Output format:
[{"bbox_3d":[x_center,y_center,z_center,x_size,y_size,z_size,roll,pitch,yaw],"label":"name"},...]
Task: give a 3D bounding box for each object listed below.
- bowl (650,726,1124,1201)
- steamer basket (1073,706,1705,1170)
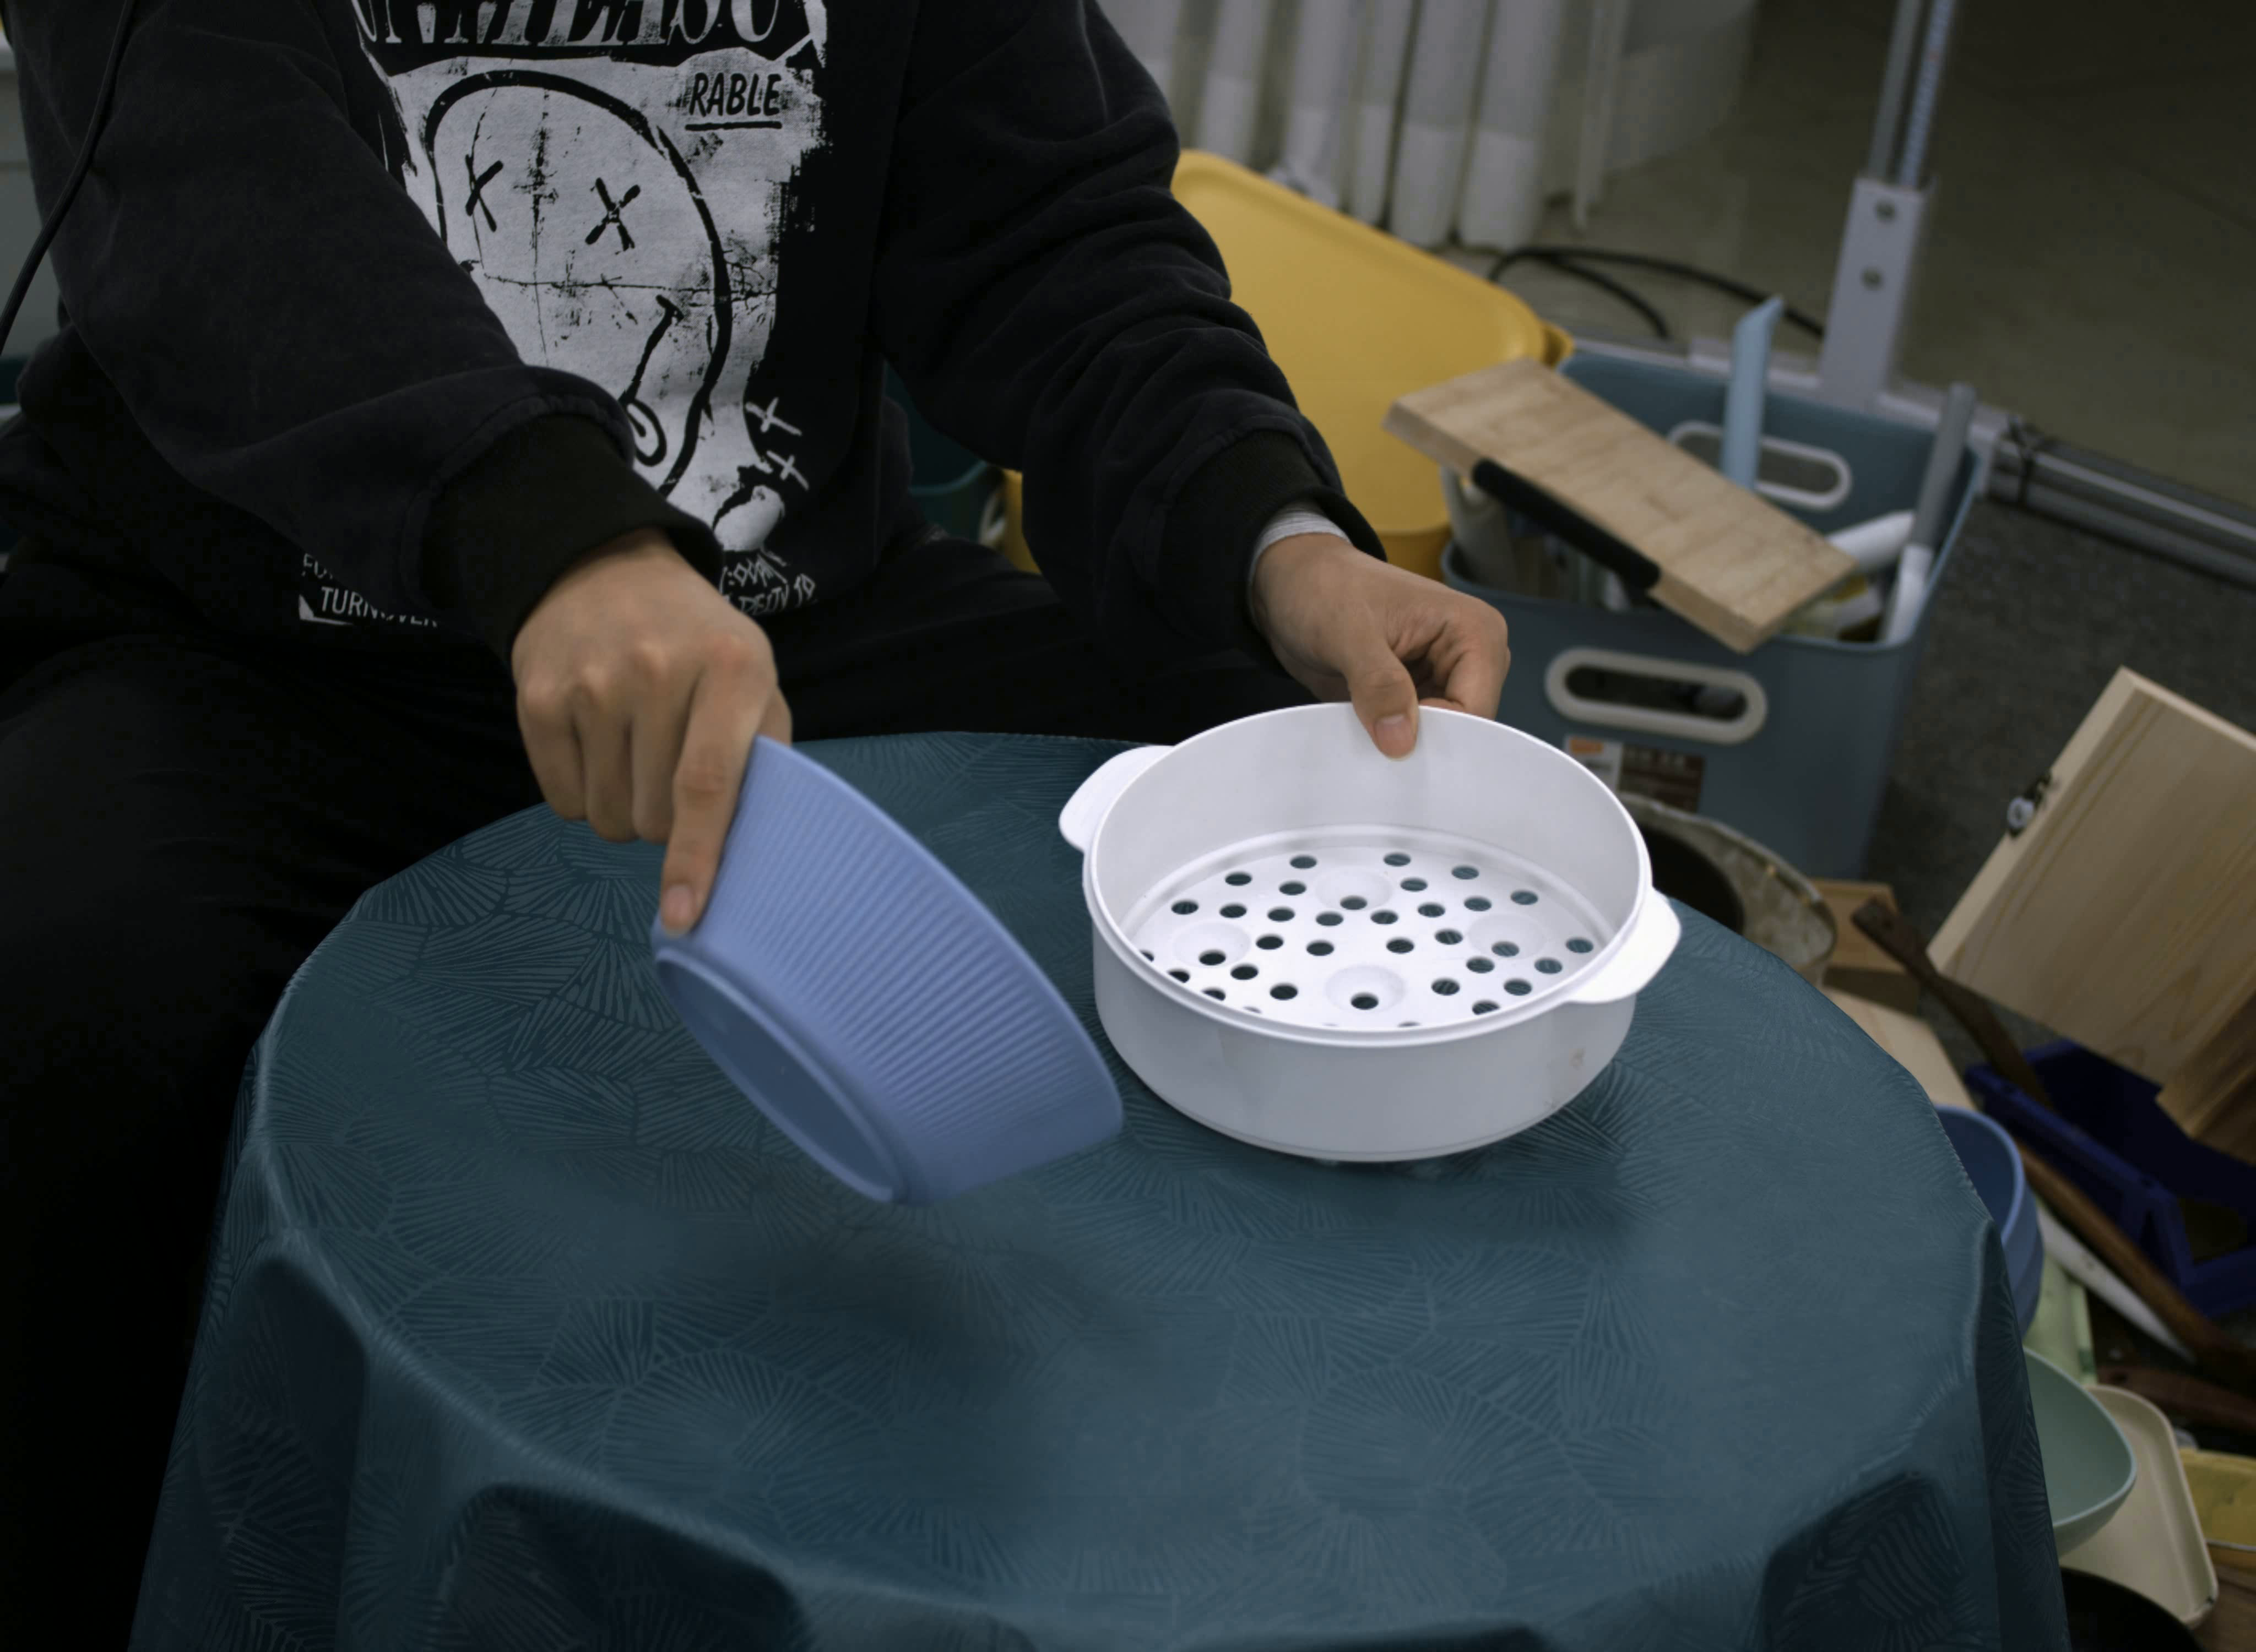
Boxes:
[{"bbox_3d":[-0.087,0.054,1.665,0.070,0.174,0.177,-44,48,-16],"label":"bowl"},{"bbox_3d":[0.089,0.040,1.882,0.231,0.069,0.202,18,39,22],"label":"steamer basket"}]
